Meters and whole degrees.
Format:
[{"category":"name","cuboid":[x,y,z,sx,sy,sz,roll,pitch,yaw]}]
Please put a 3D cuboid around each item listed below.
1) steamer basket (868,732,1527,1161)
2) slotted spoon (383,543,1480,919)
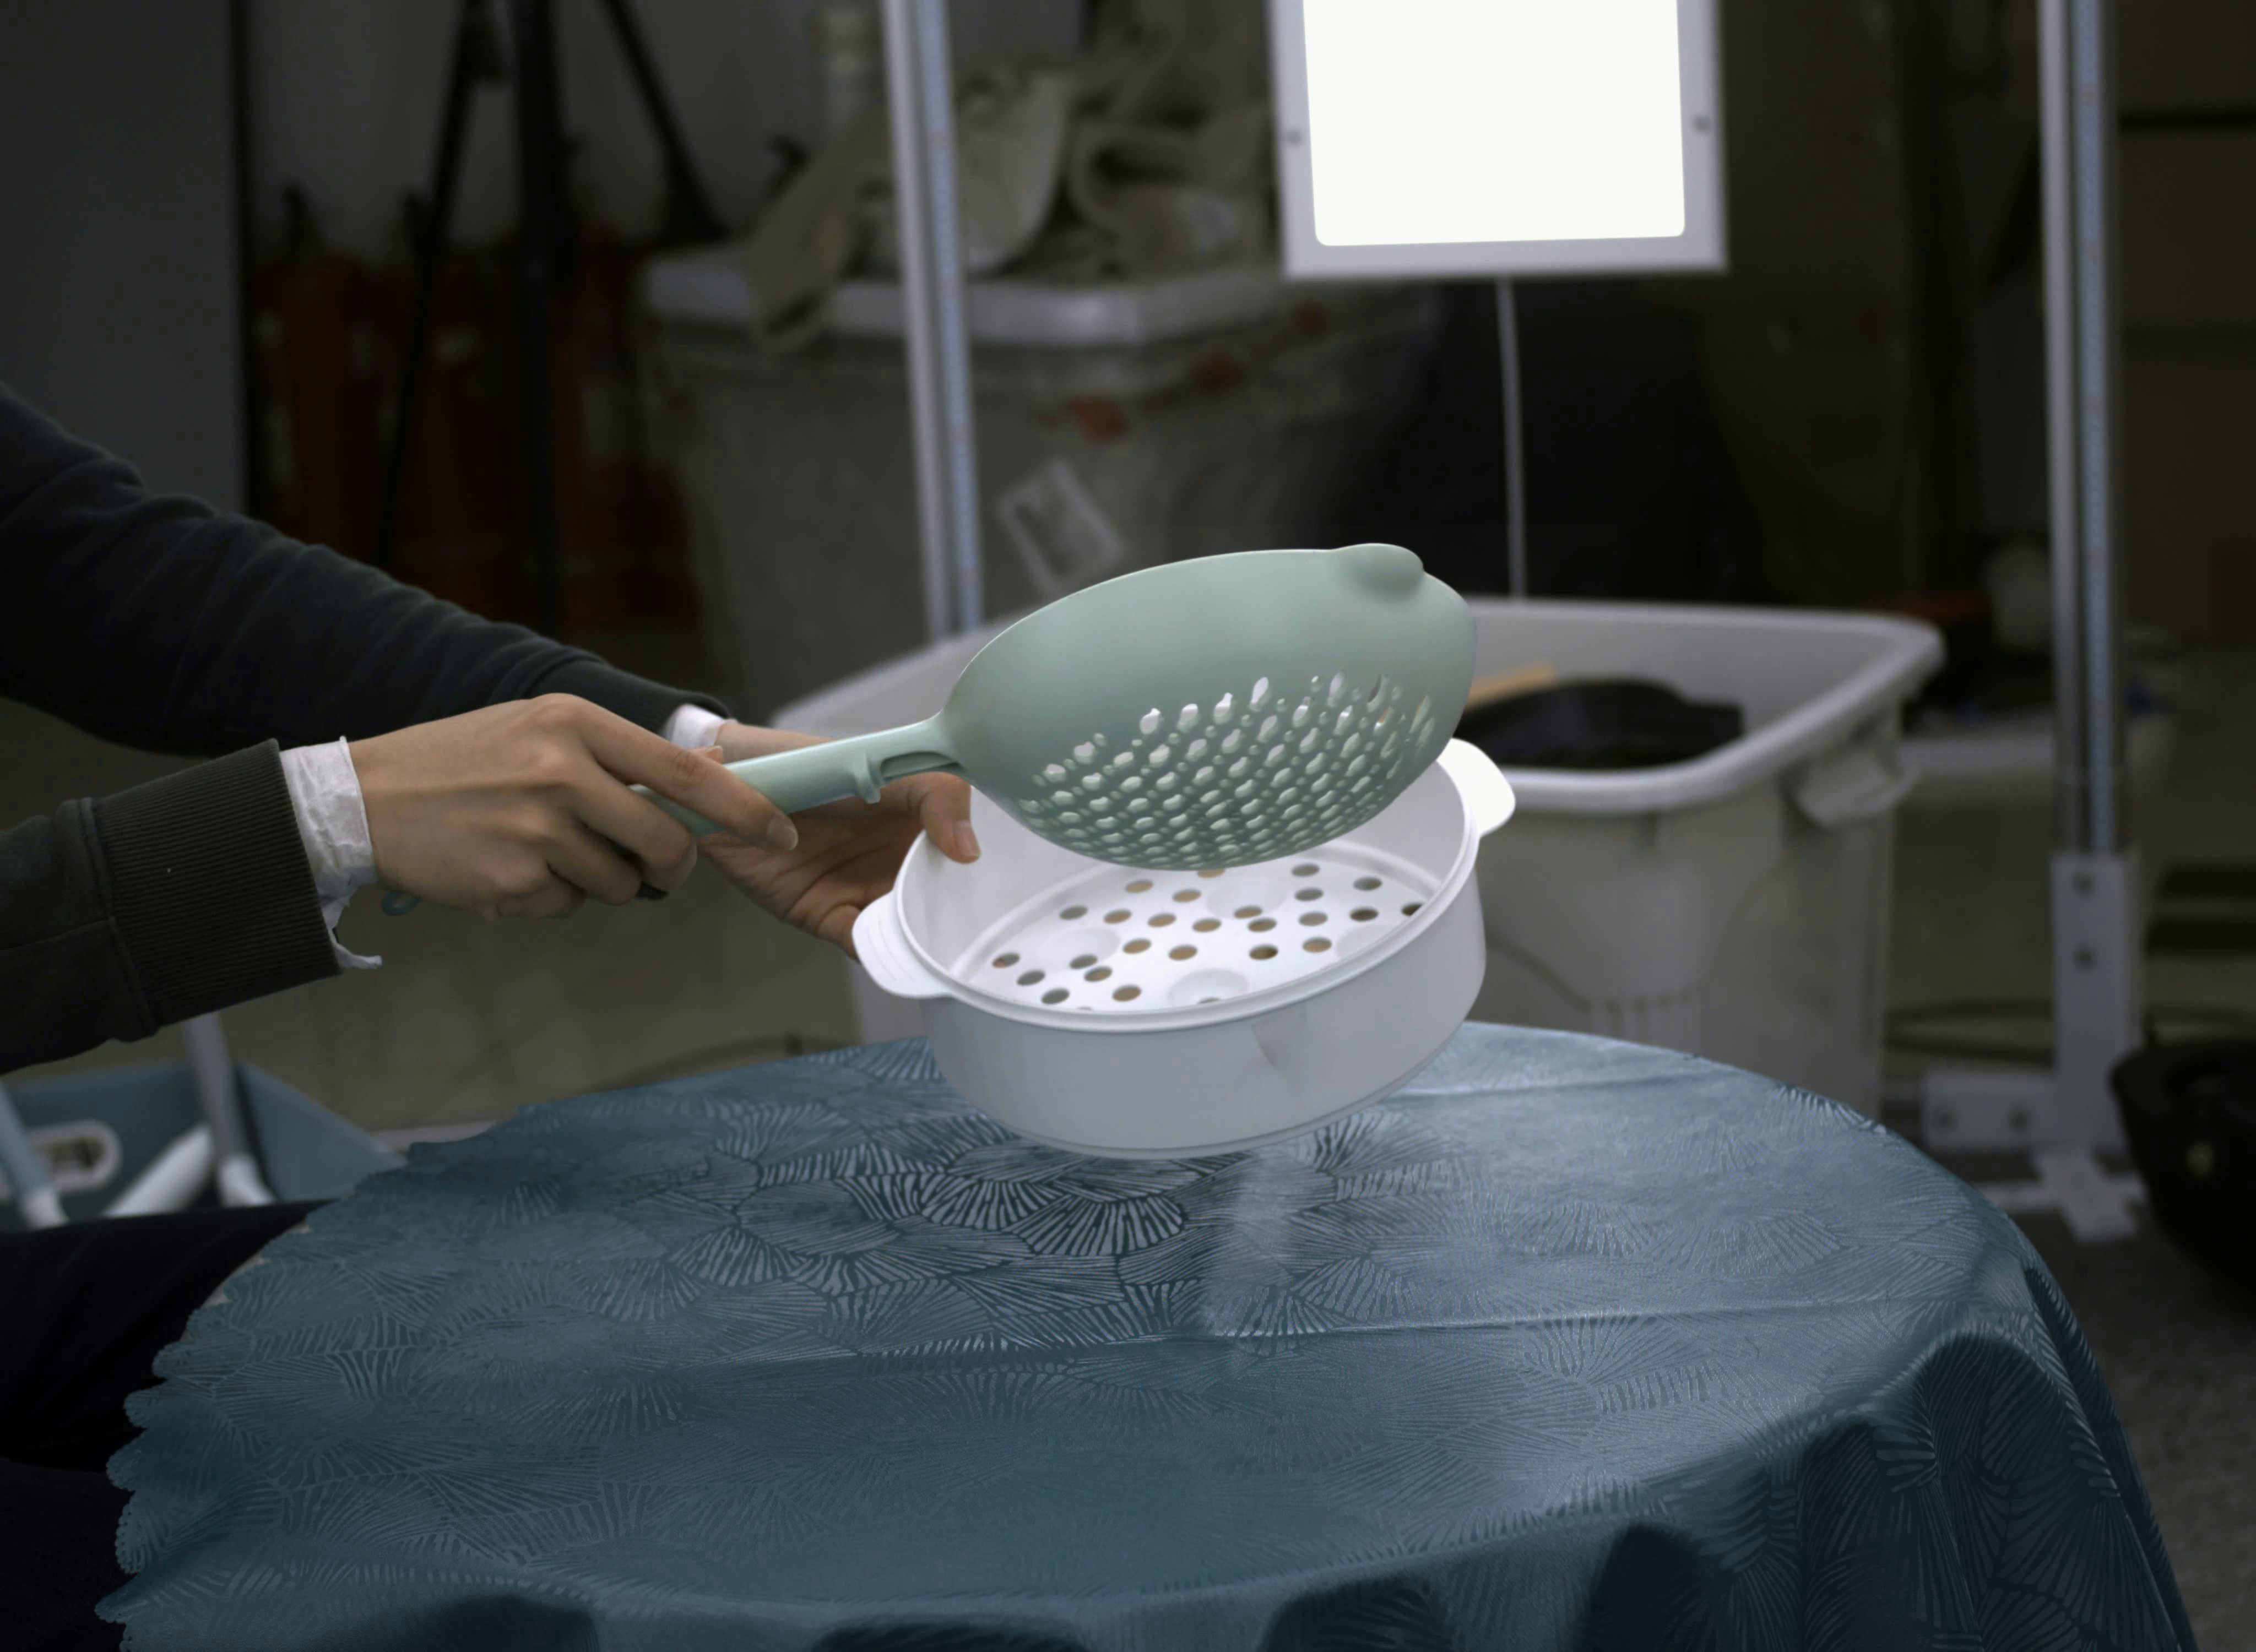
[{"category":"steamer basket","cuboid":[0.029,0.037,1.871,0.228,0.069,0.203,-18,30,-9]},{"category":"slotted spoon","cuboid":[-0.065,-0.019,1.764,0.361,0.075,0.168,-4,-24,10]}]
